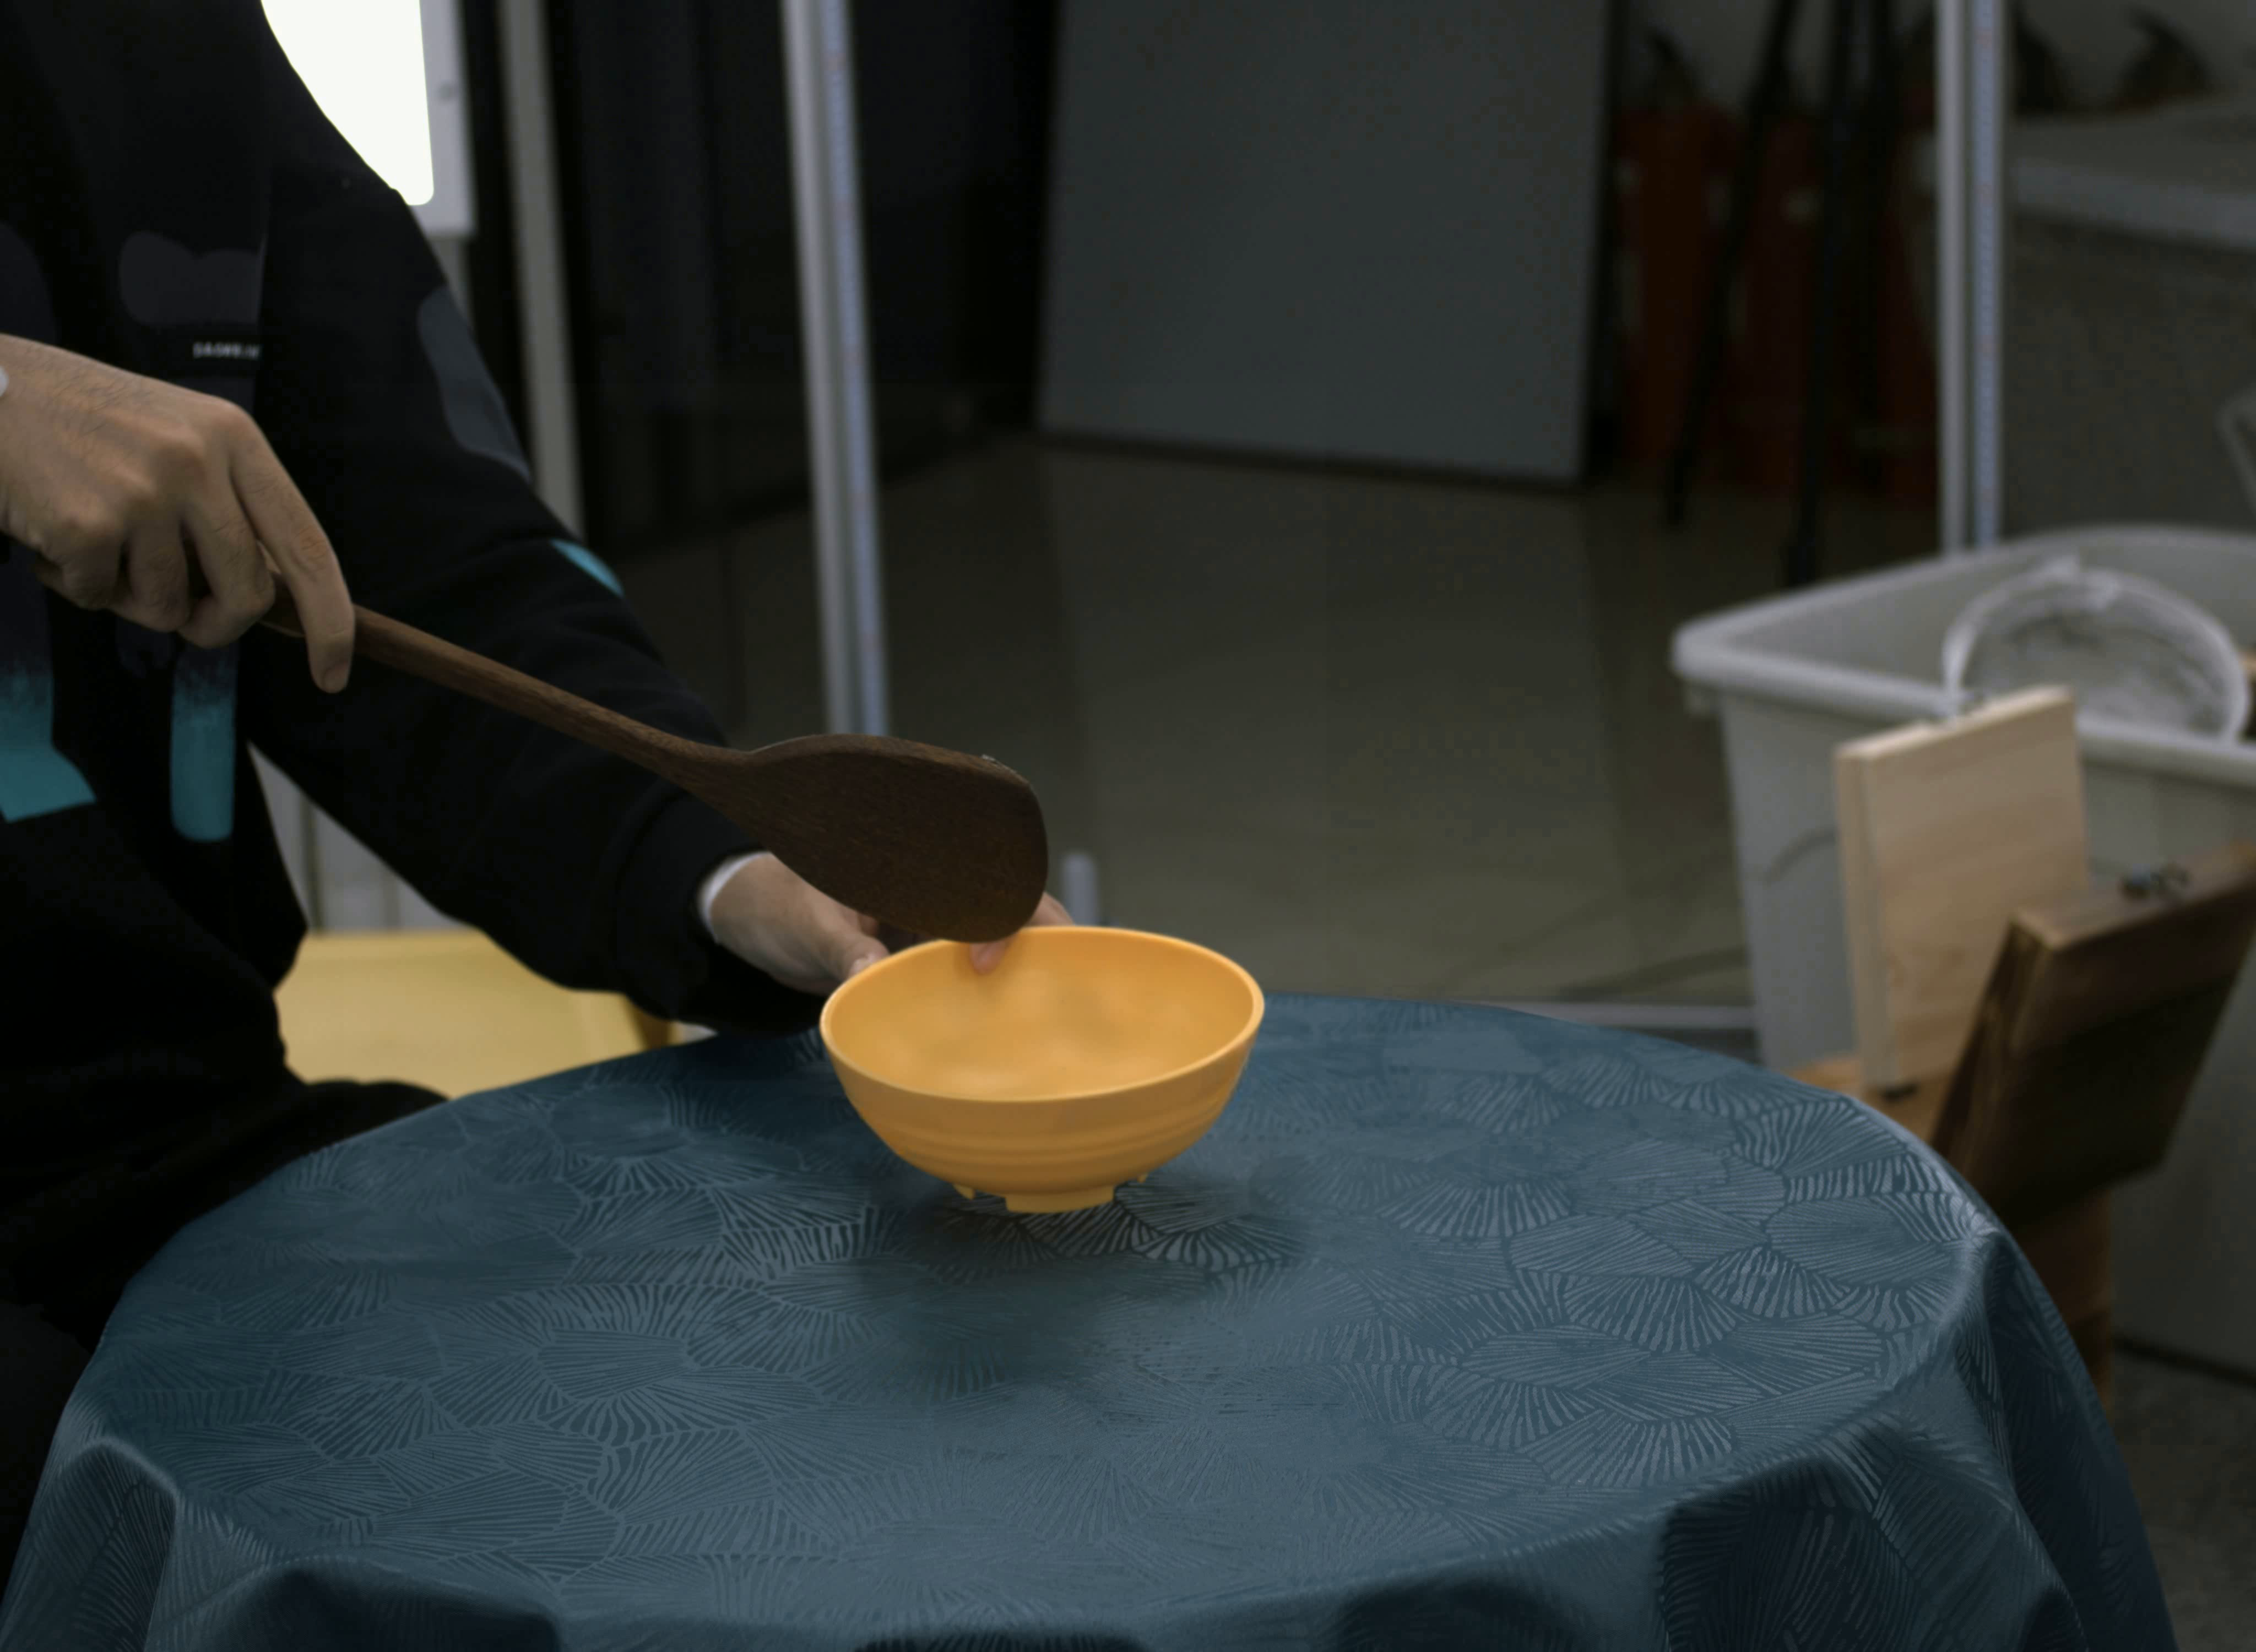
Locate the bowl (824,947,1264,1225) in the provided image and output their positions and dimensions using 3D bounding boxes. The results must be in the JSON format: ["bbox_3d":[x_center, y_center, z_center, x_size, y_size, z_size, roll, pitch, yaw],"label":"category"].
[{"bbox_3d":[-0.026,0.090,1.748,0.143,0.061,0.145,-3,18,0],"label":"bowl"}]

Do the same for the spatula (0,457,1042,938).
[{"bbox_3d":[-0.205,-0.049,1.703,0.384,0.096,0.016,20,55,10],"label":"spatula"}]
